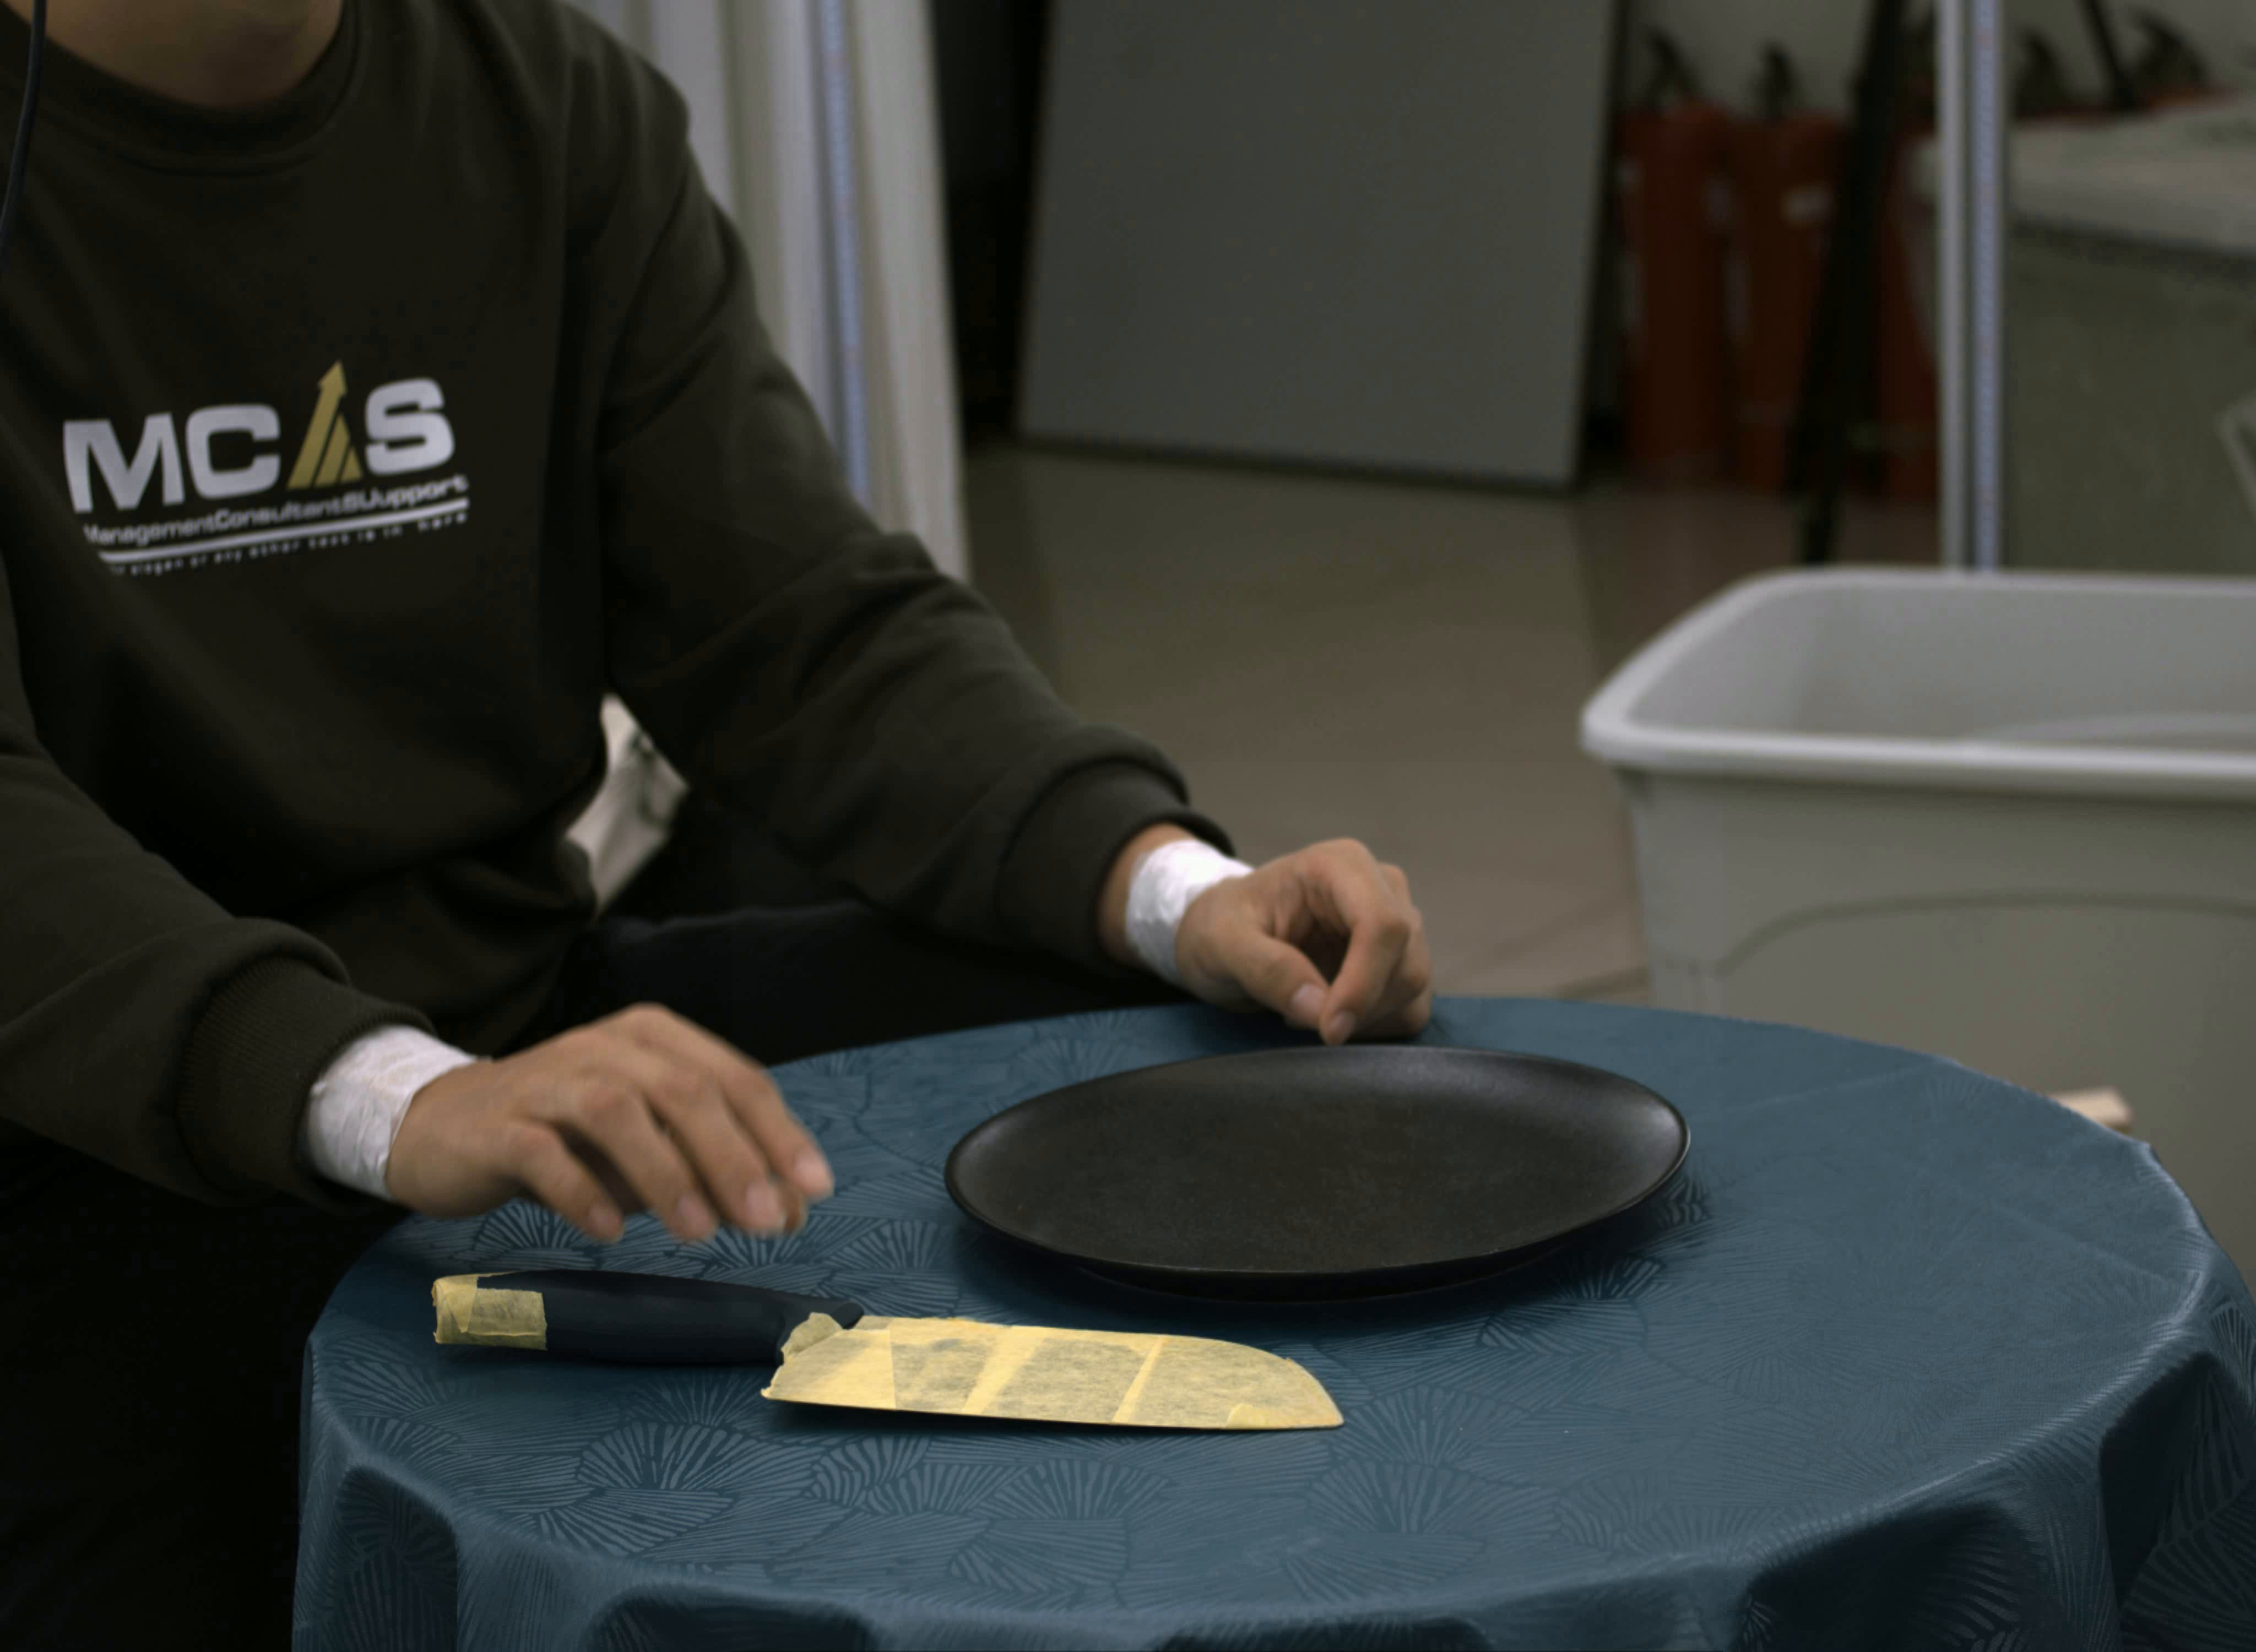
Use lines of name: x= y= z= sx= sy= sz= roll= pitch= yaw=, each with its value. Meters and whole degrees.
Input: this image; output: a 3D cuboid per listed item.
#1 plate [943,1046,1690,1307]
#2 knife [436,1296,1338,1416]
plate: x=0.061 y=0.115 z=1.734 sx=0.241 sy=0.024 sz=0.245 roll=-4 pitch=13 yaw=0
knife: x=-0.076 y=0.161 z=1.602 sx=0.288 sy=0.027 sz=0.080 roll=1 pitch=12 yaw=17
